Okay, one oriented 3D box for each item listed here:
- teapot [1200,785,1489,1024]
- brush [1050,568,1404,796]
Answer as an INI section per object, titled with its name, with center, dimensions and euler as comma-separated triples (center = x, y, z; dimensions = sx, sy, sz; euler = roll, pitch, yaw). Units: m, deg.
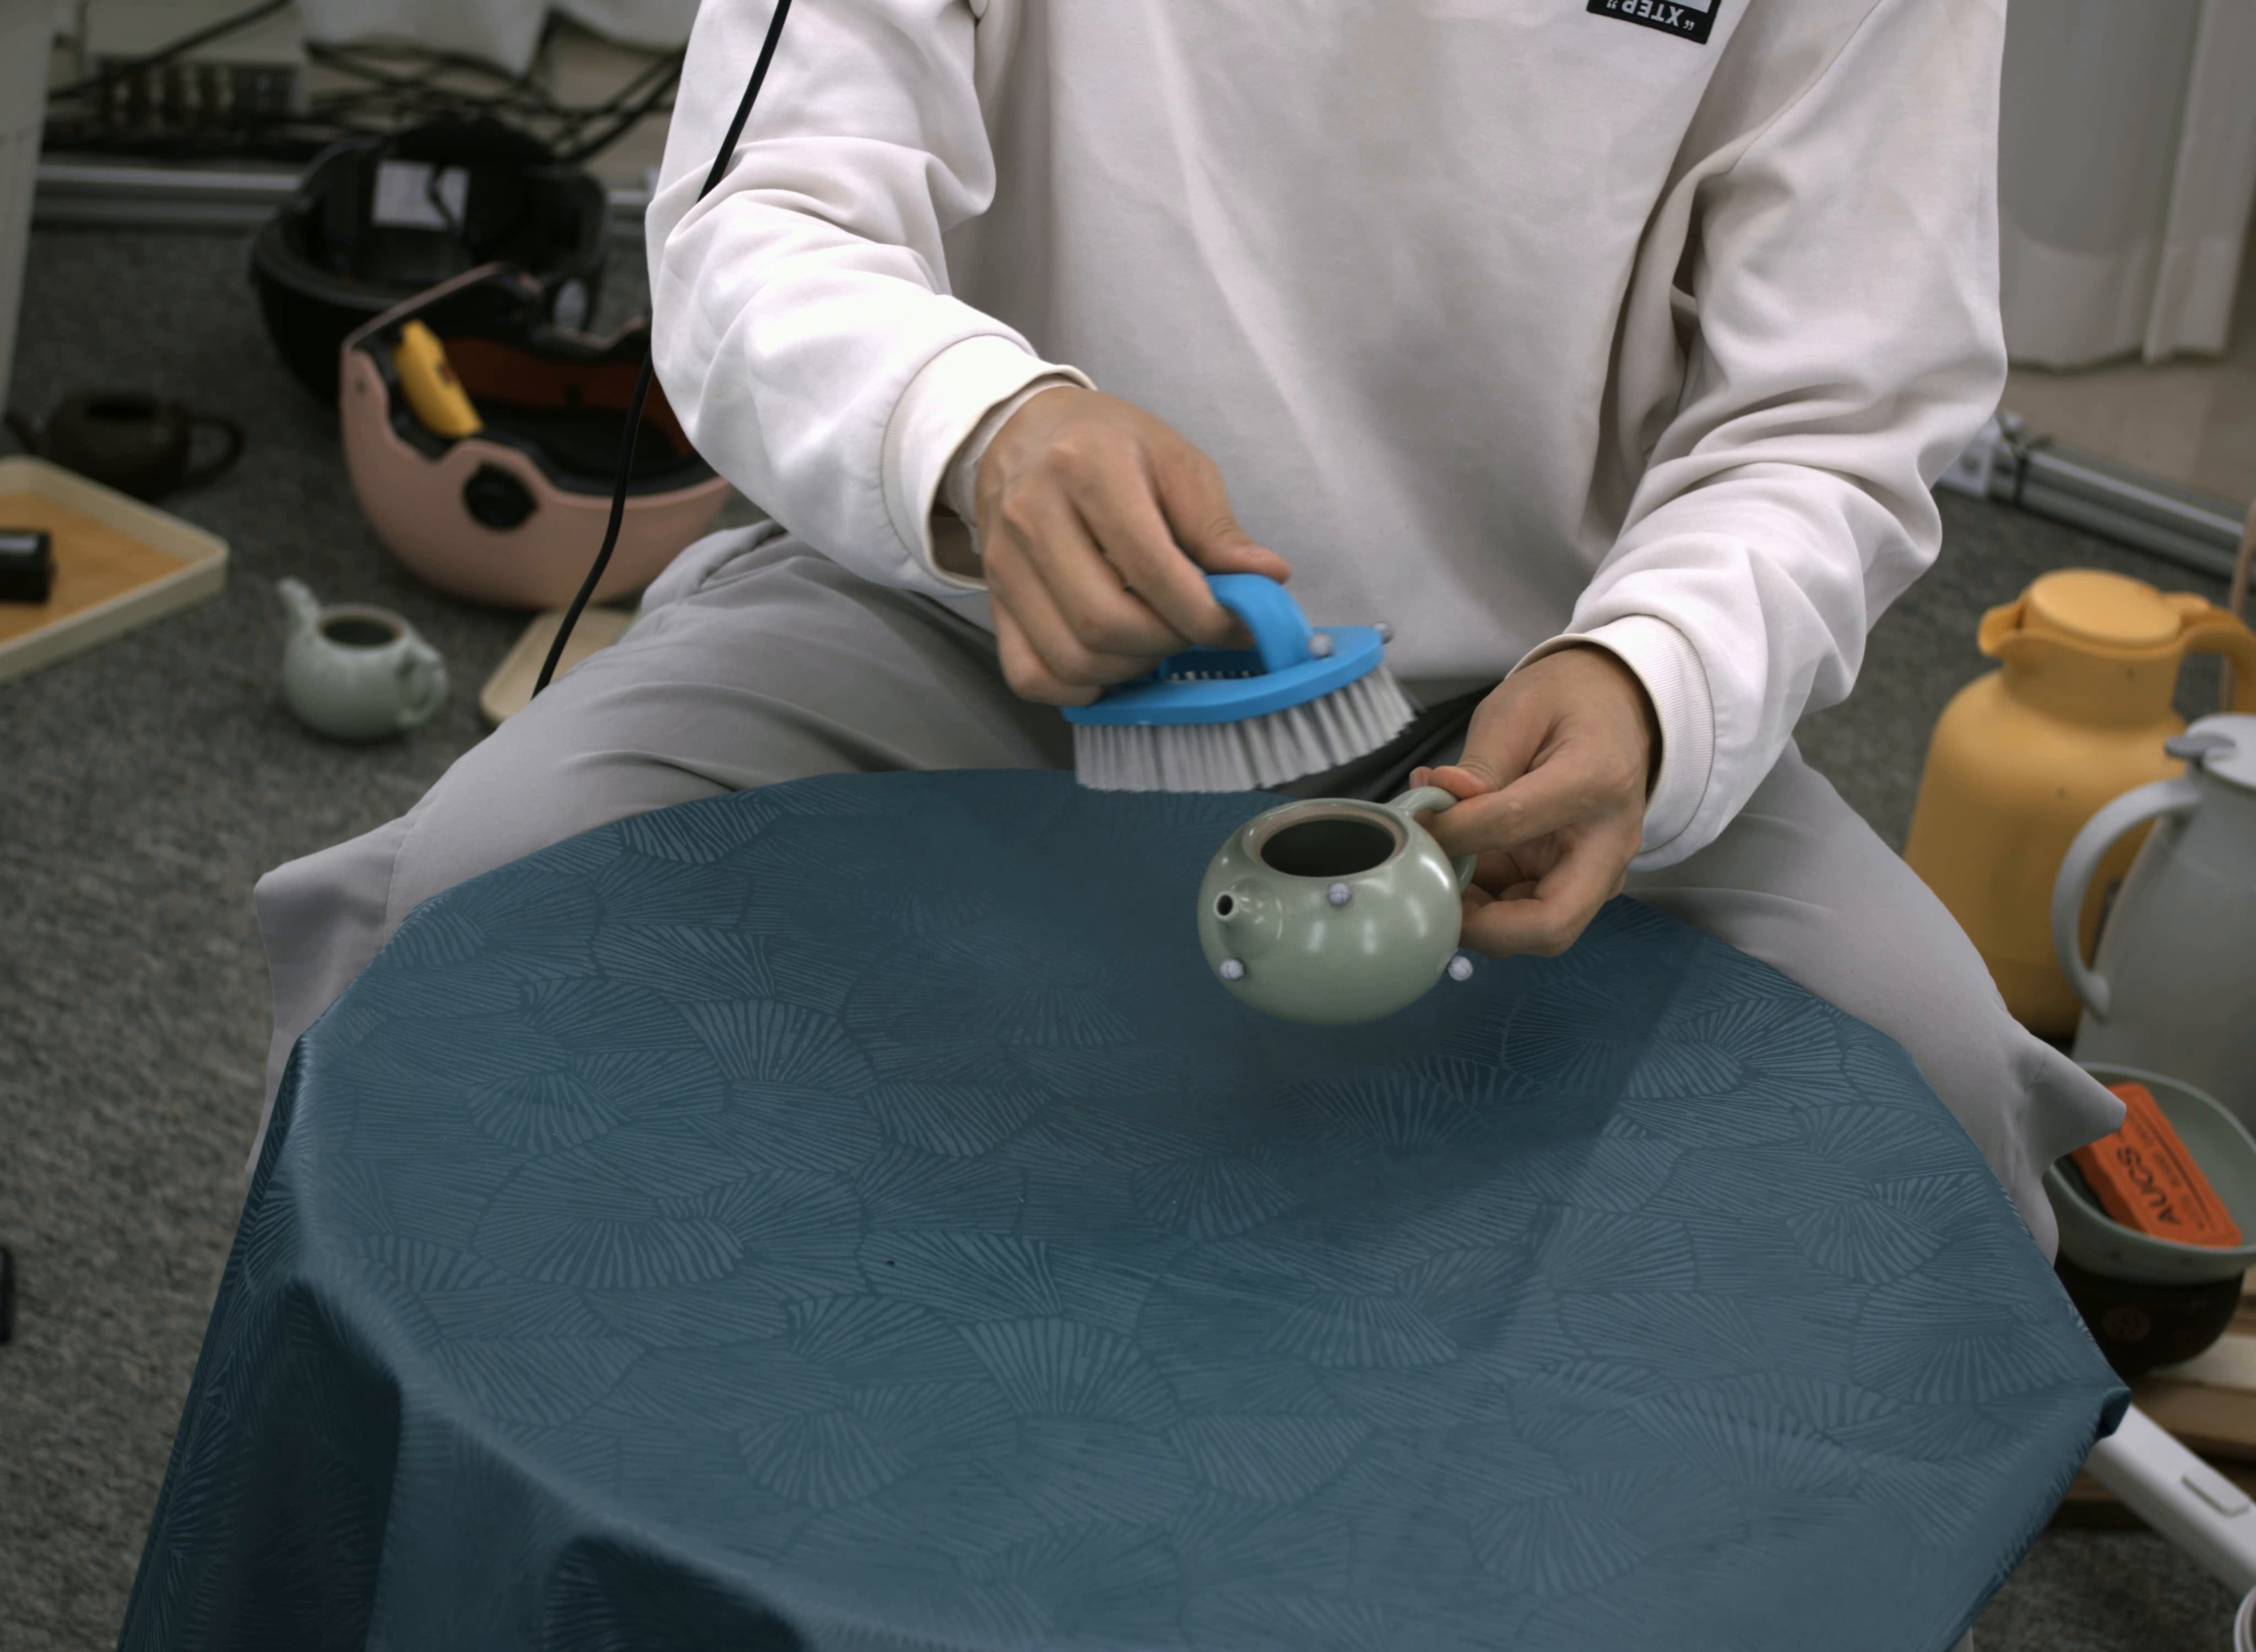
[teapot]
center = 0.078, 0.026, 1.841
dimensions = 0.128, 0.061, 0.092
euler = -24, 31, -34
[brush]
center = 0.026, -0.055, 1.804
dimensions = 0.084, 0.063, 0.142
euler = -31, 17, -31
